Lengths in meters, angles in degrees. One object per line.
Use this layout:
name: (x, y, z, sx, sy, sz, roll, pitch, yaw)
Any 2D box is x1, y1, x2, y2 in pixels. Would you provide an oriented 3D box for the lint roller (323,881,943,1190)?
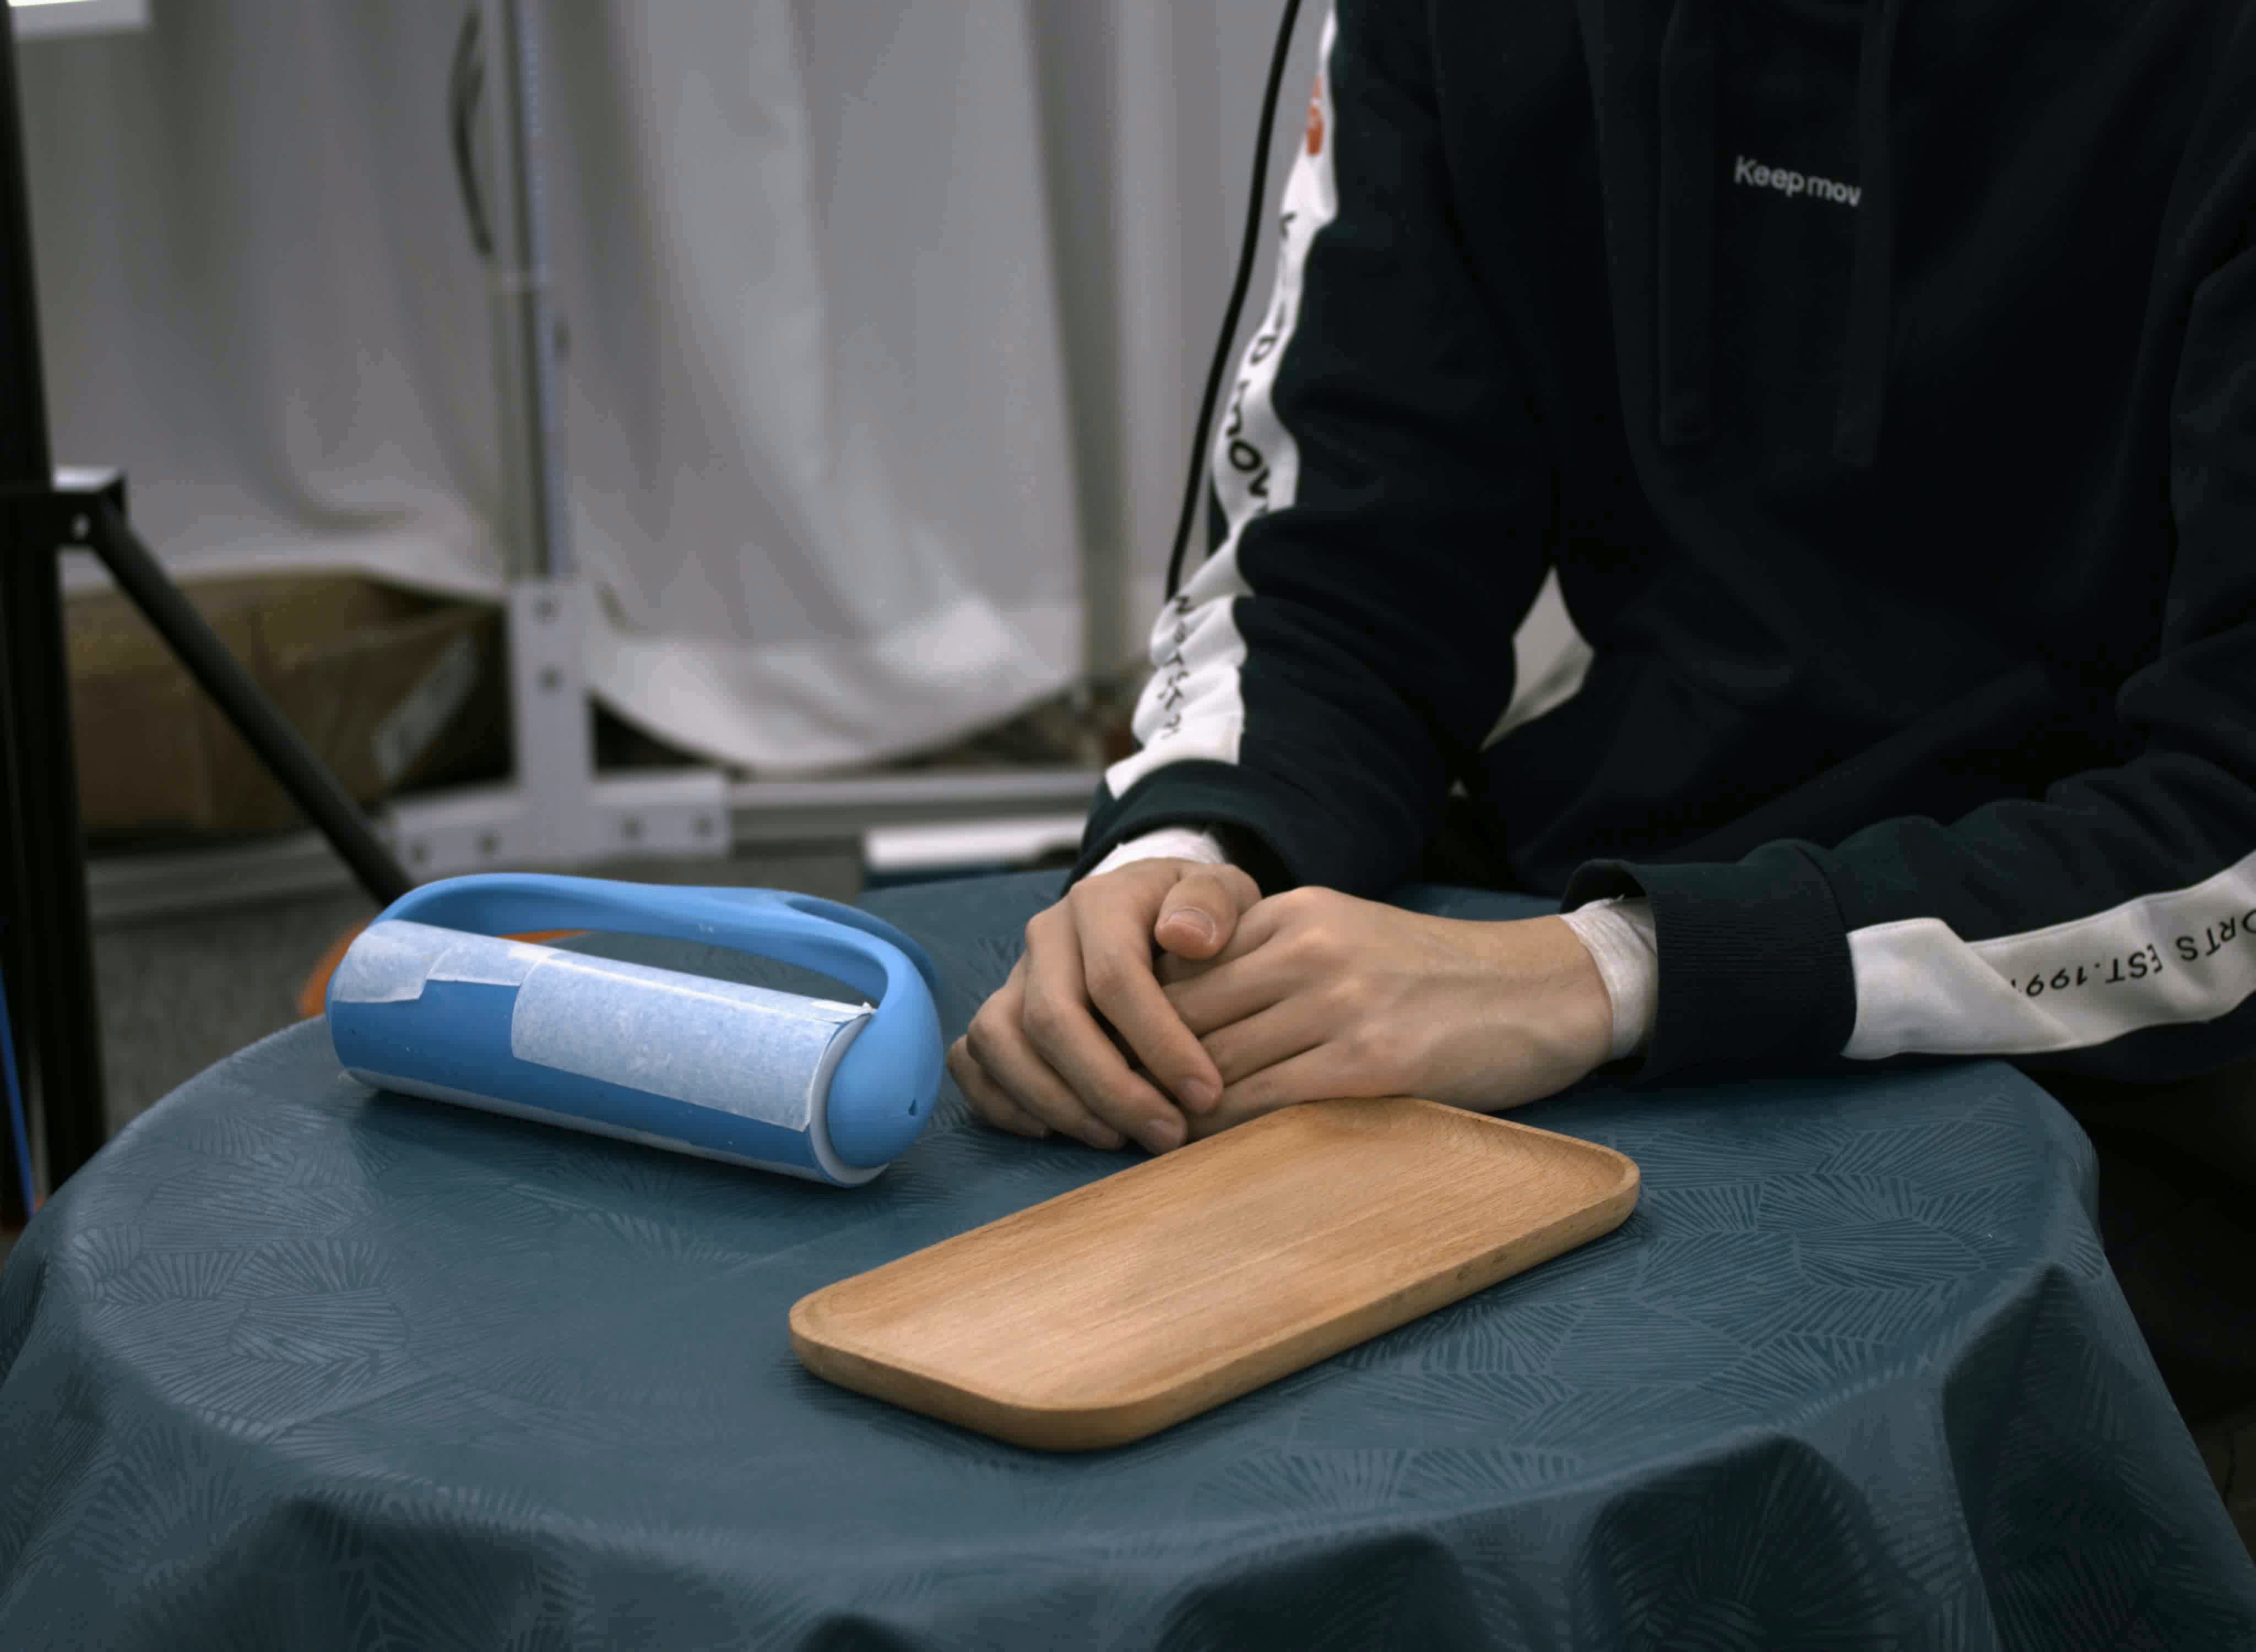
lint roller: (-0.123, 0.052, 1.671, 0.233, 0.068, 0.177, 6, 19, 34)

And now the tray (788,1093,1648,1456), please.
tray: (0.029, 0.122, 1.473, 0.245, 0.023, 0.133, -17, 23, -42)
